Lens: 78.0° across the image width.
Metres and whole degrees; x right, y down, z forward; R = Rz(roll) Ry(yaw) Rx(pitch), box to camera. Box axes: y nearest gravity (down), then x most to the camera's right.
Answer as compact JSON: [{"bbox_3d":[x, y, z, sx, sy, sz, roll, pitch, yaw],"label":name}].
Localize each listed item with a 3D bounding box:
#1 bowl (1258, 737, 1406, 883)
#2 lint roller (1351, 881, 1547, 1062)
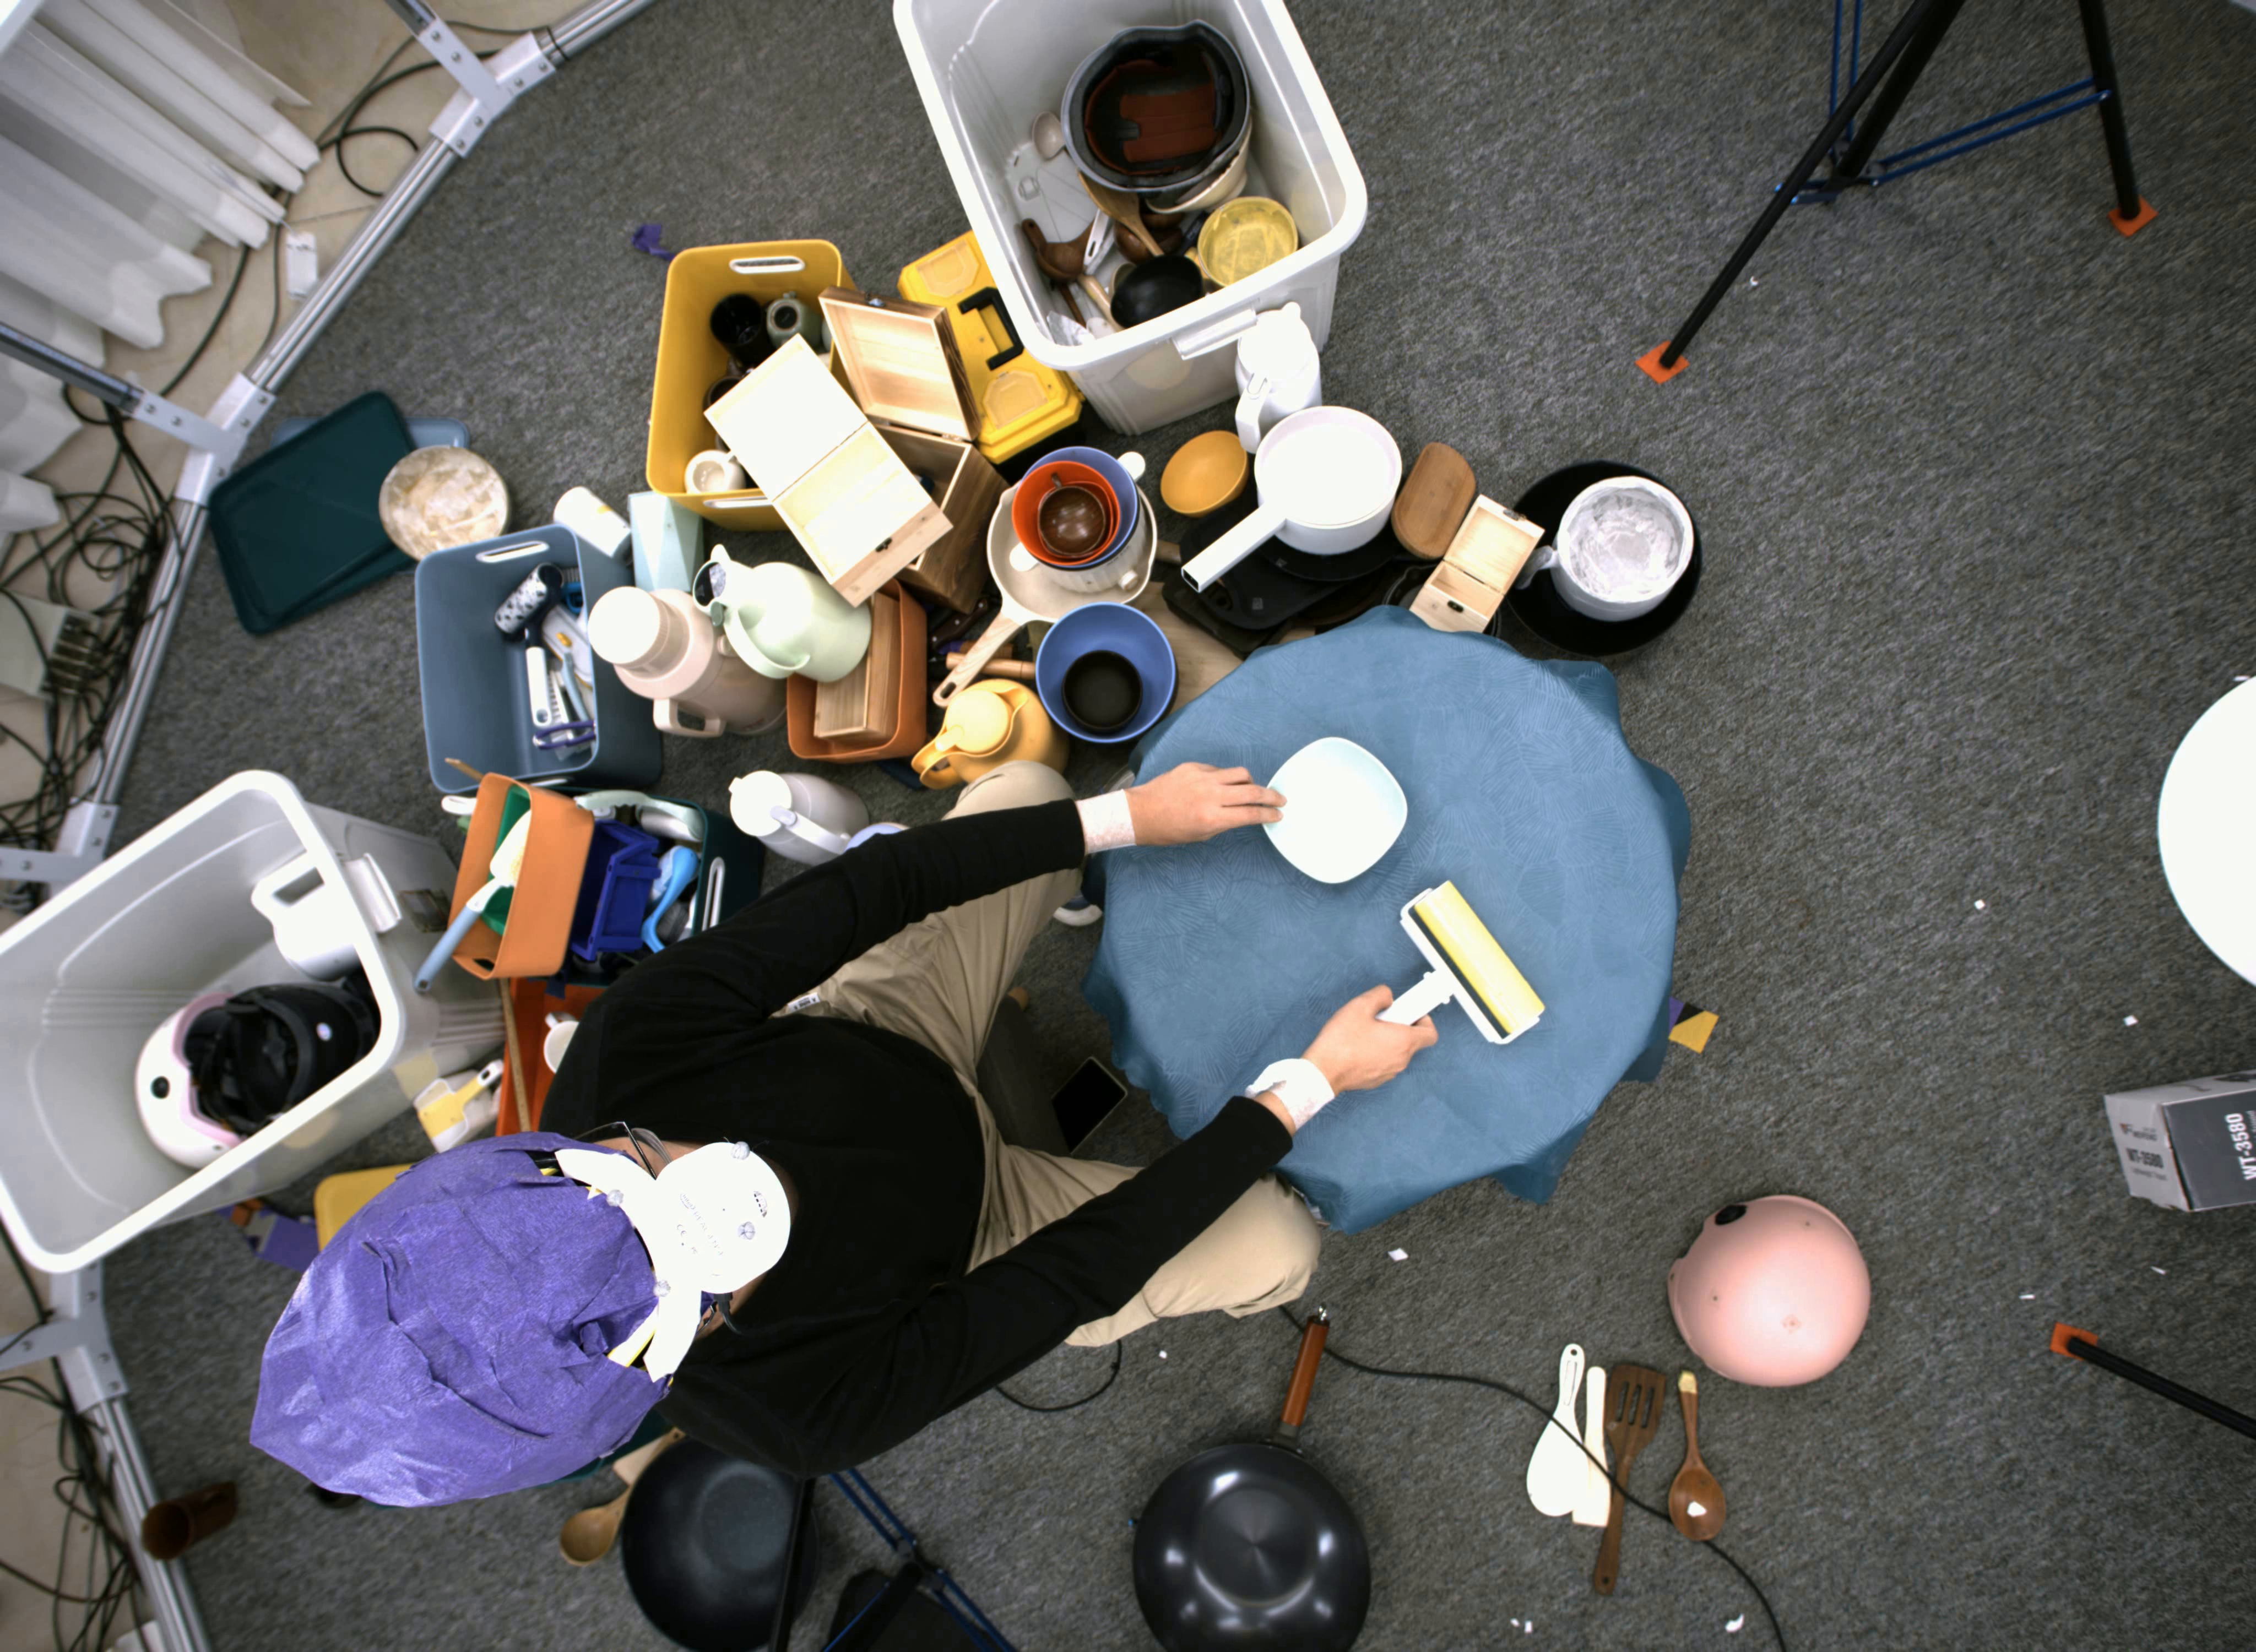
[{"bbox_3d":[0.213,-0.015,1.446,0.152,0.059,0.150,-1,86,9],"label":"bowl"},{"bbox_3d":[0.305,0.171,1.397,0.190,0.052,0.173,-35,82,-18],"label":"lint roller"}]
